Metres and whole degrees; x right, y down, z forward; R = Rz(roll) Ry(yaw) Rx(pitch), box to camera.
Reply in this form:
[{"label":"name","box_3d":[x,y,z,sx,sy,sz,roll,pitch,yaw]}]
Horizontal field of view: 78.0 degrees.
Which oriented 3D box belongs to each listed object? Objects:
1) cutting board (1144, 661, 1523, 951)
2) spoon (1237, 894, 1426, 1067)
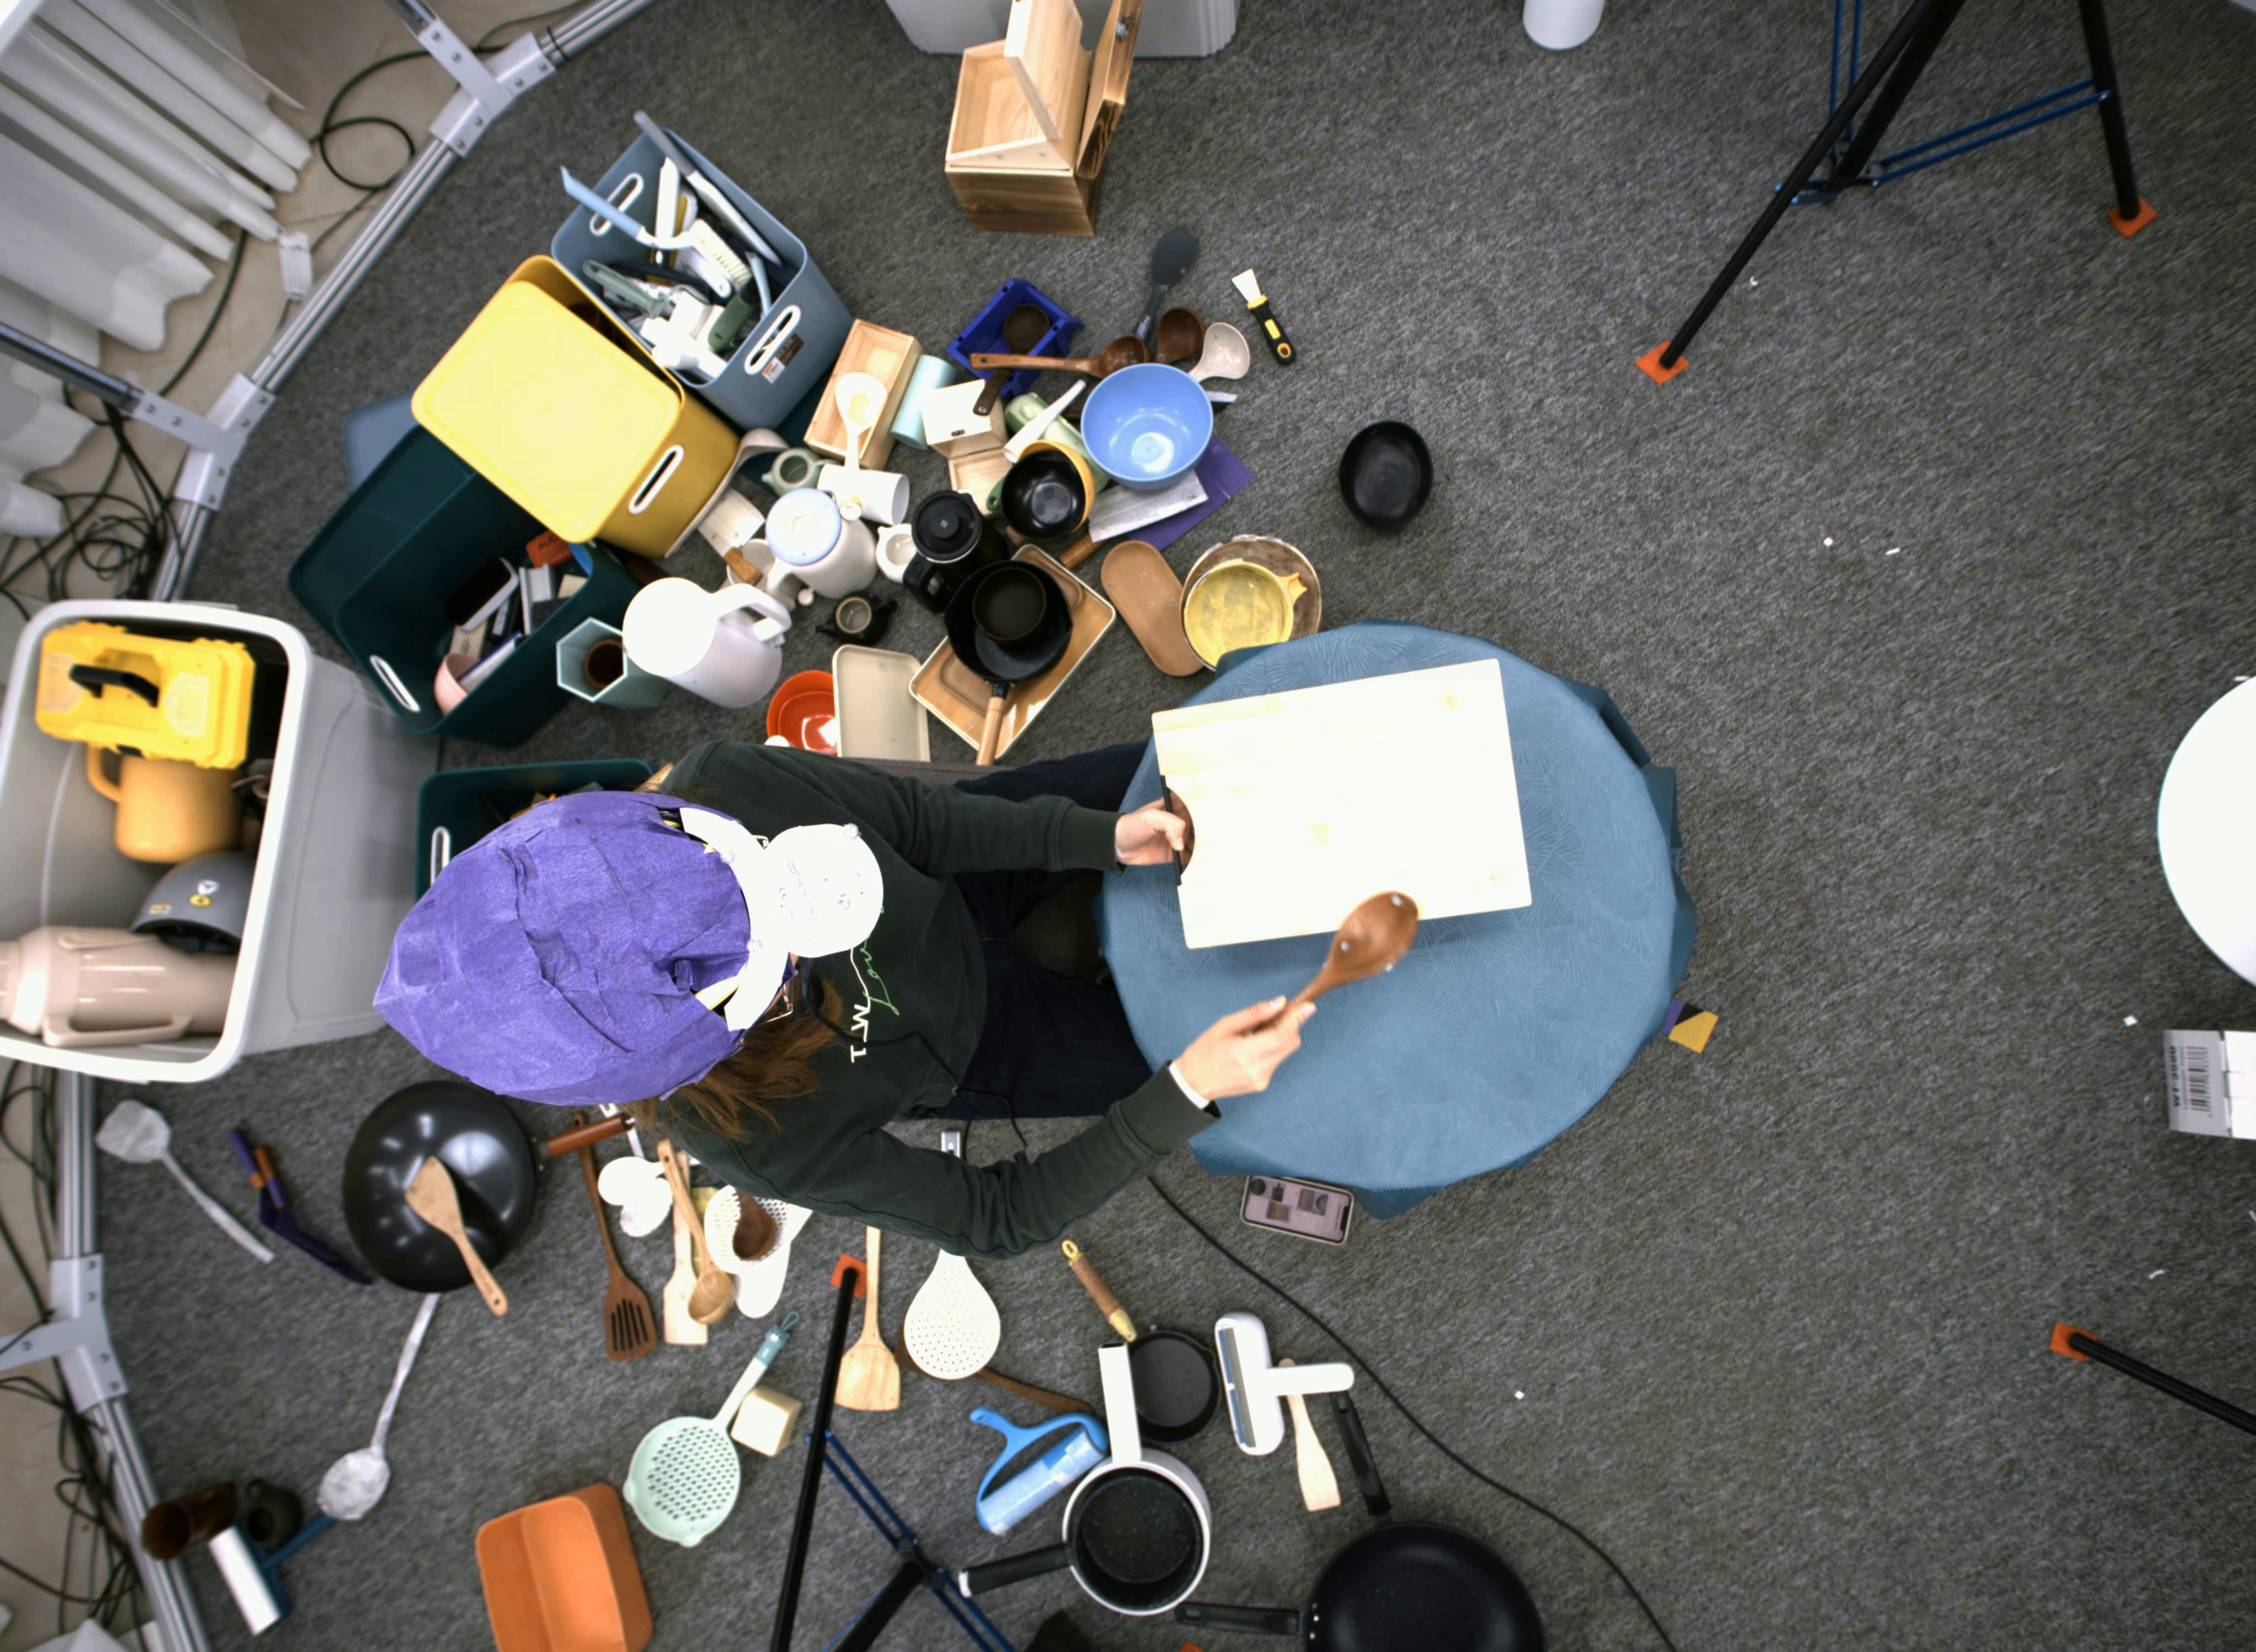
[{"label":"cutting board","box_3d":[0.204,-0.018,1.362,0.350,0.023,0.251,-9,94,12]},{"label":"spoon","box_3d":[0.179,0.142,1.235,0.218,0.017,0.074,-43,47,14]}]
